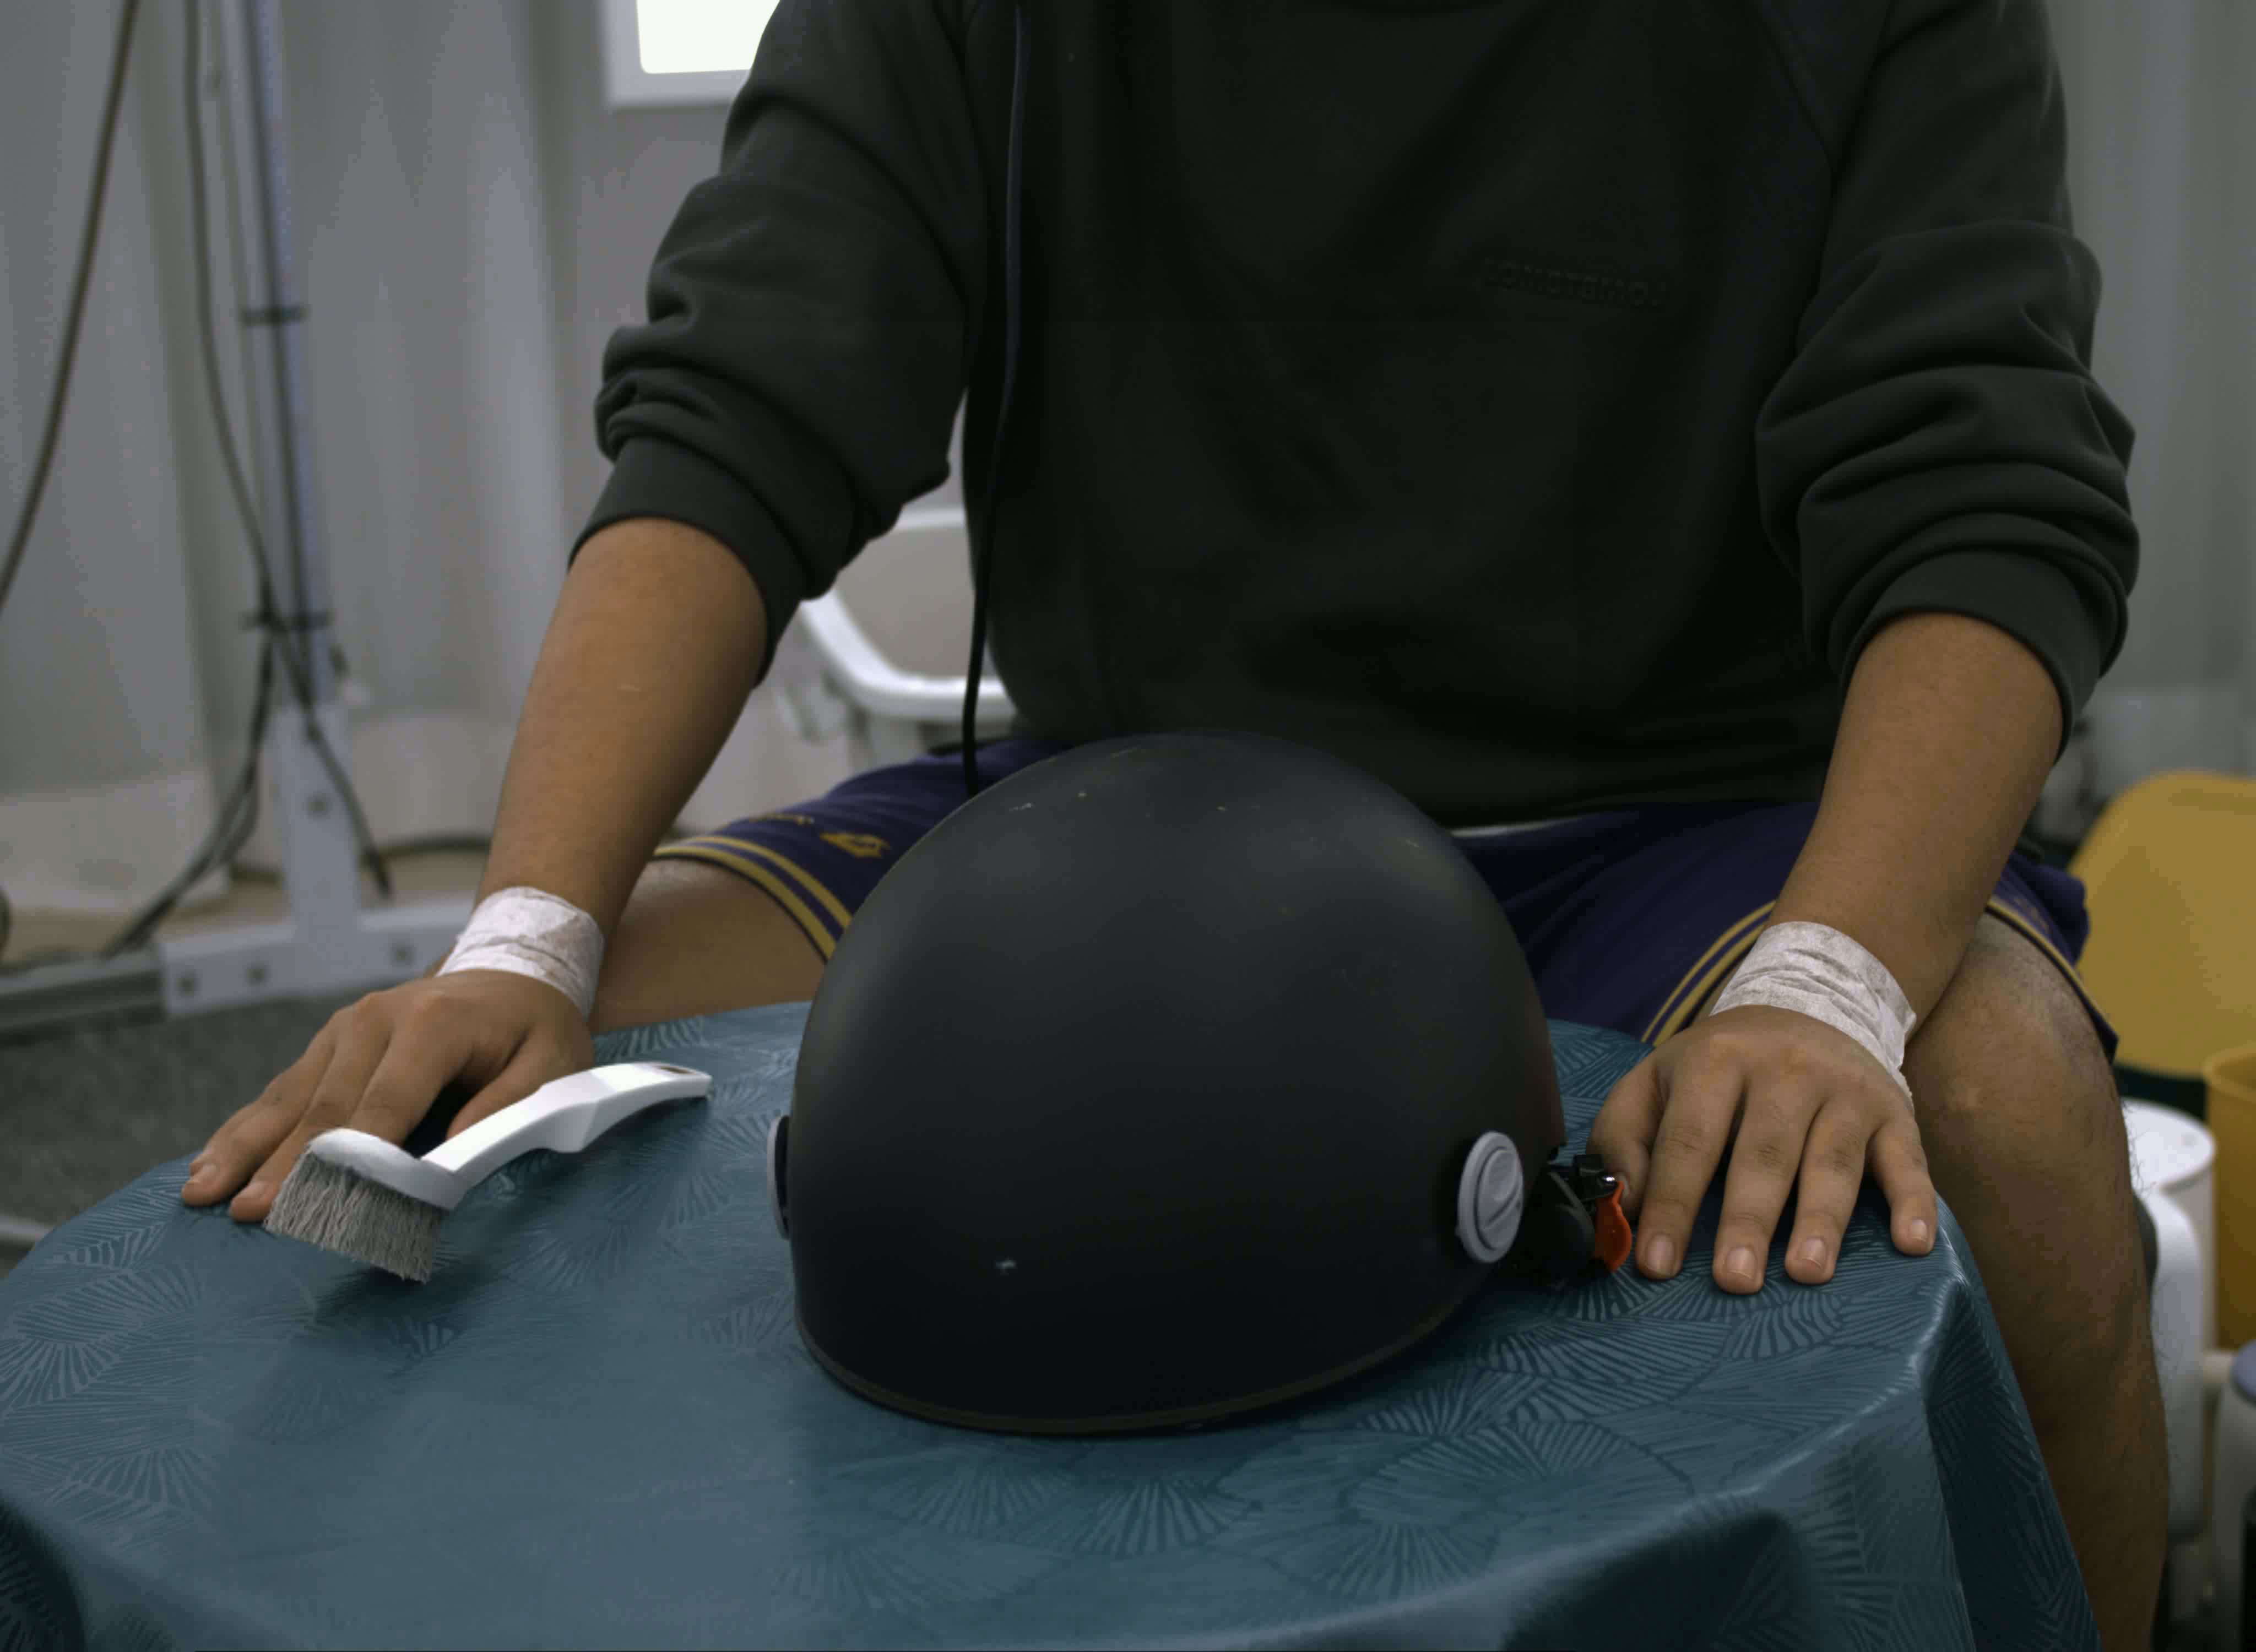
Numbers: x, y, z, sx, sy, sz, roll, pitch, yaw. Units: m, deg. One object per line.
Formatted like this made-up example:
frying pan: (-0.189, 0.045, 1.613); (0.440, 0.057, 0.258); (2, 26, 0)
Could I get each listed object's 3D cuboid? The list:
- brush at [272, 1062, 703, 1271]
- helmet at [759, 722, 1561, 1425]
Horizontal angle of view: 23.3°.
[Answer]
brush: (-0.197, 0.108, 1.734); (0.034, 0.050, 0.243); (12, 6, 20)
helmet: (0.008, 0.060, 1.618); (0.230, 0.166, 0.274); (0, 16, 22)
